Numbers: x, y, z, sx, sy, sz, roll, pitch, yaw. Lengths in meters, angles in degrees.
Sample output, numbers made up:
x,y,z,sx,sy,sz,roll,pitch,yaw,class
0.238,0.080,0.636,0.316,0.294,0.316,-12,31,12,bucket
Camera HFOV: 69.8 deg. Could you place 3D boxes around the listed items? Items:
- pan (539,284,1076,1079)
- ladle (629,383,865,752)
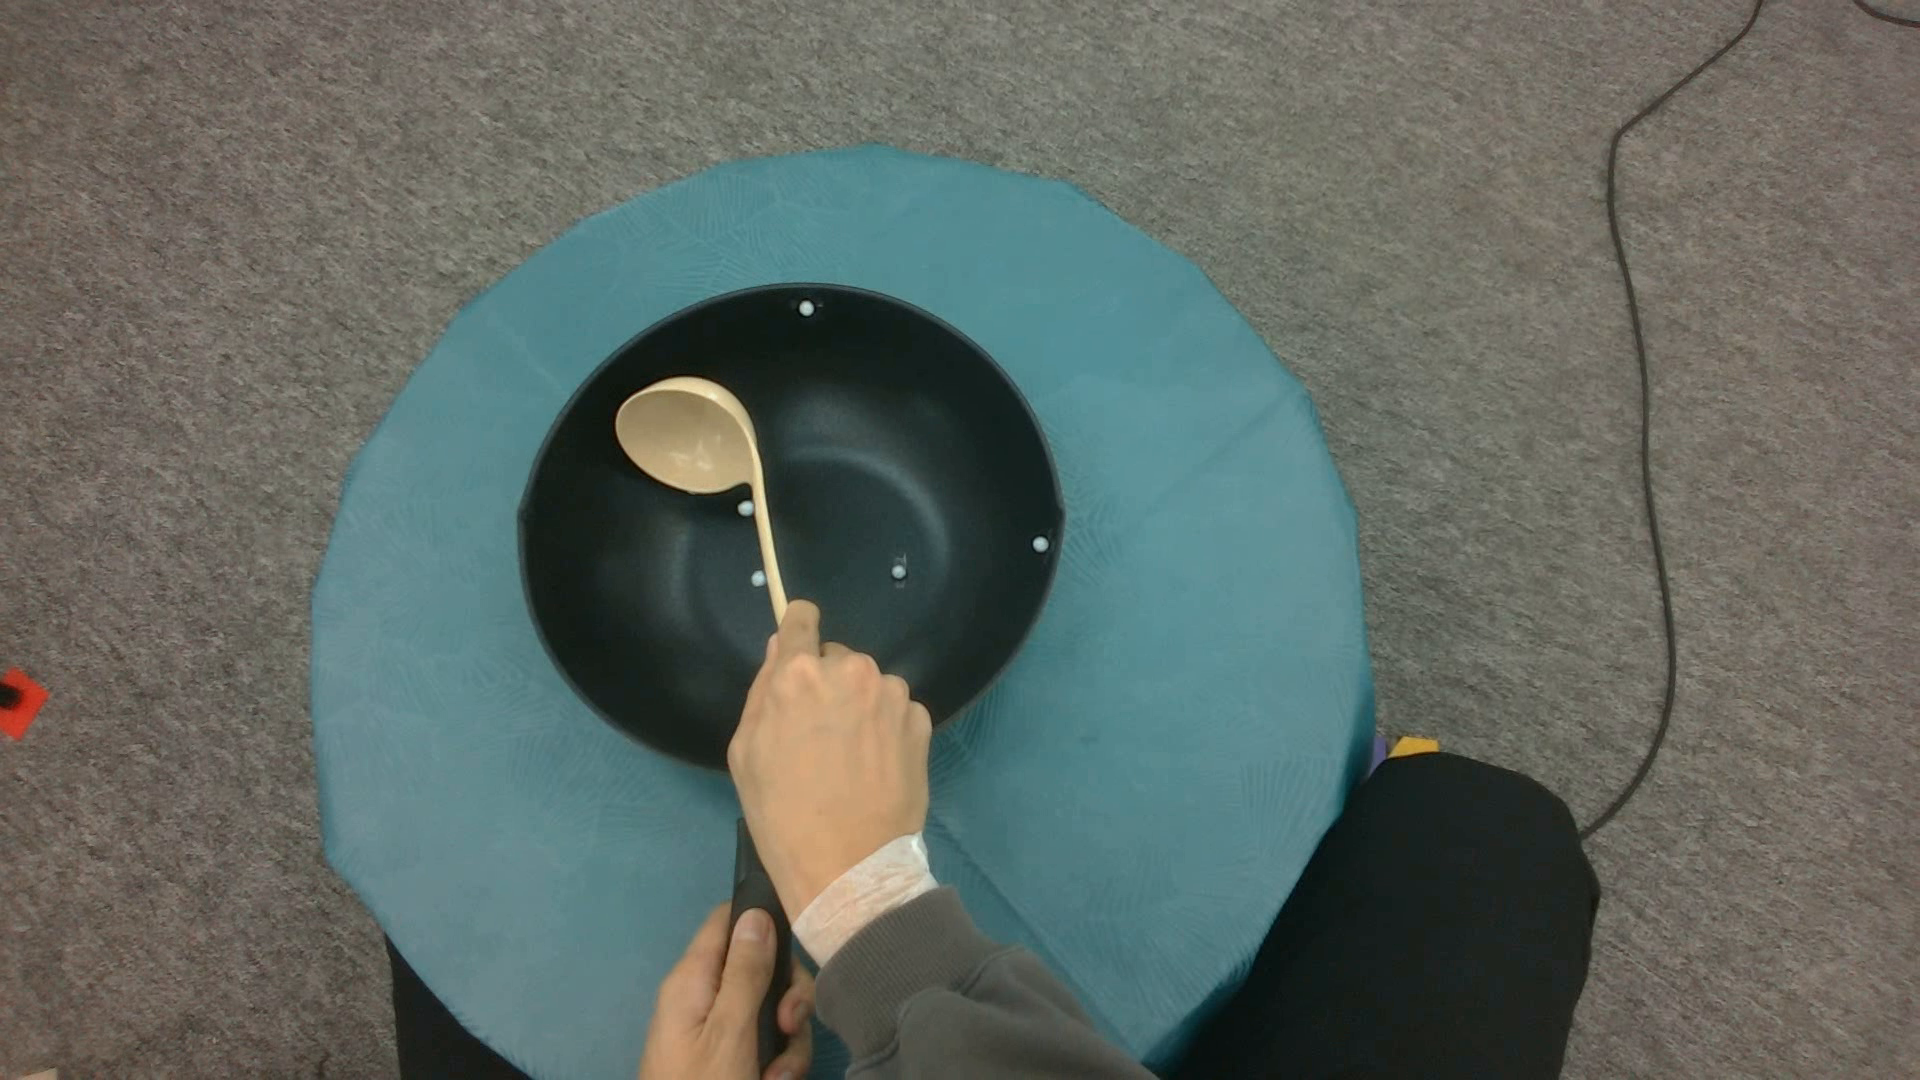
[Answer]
x,y,z,sx,sy,sz,roll,pitch,yaw,class
-0.084,0.086,0.734,0.288,0.086,0.464,1,70,2,pan
-0.114,0.011,0.694,0.073,0.072,0.255,2,39,-24,ladle
